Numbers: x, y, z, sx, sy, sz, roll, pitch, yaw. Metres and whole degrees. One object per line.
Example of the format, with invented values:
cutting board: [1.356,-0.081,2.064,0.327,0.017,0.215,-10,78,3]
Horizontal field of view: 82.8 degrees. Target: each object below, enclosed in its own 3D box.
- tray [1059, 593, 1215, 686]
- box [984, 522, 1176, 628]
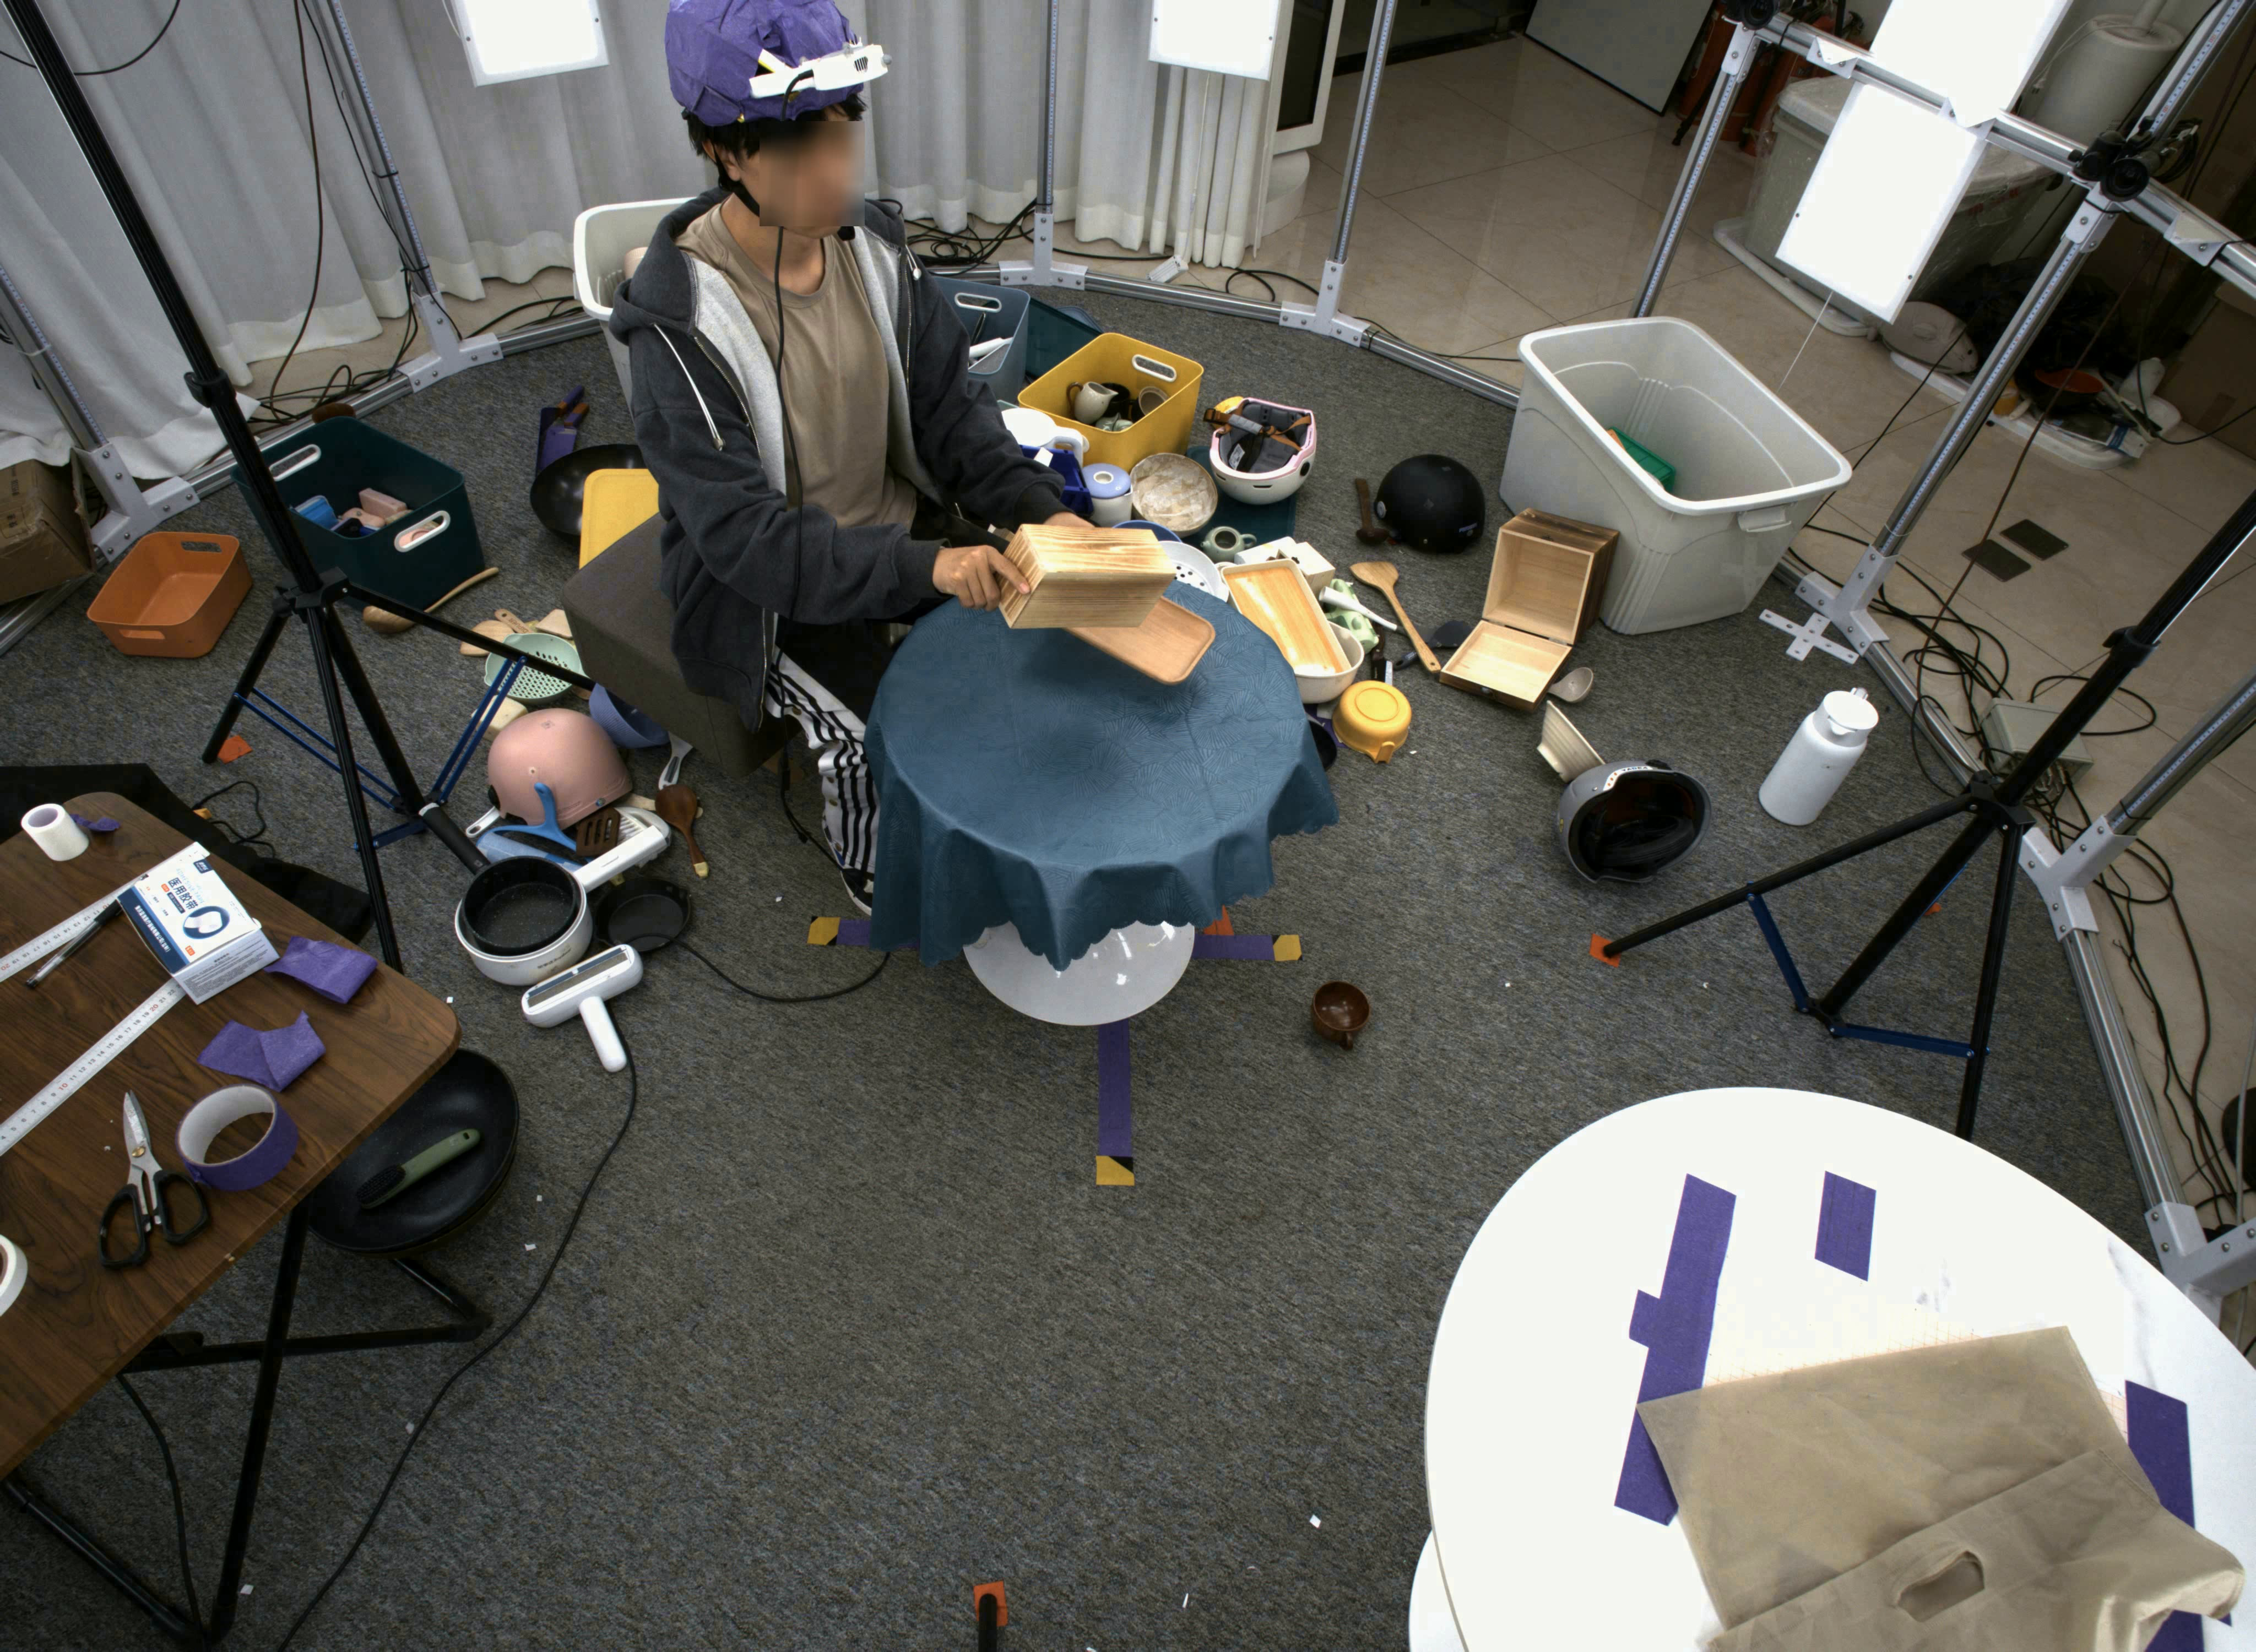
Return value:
tray: [-0.006,-0.293,1.824,0.252,0.022,0.132,30,59,13]
box: [-0.060,-0.318,1.646,0.211,0.106,0.082,-7,59,-39]
